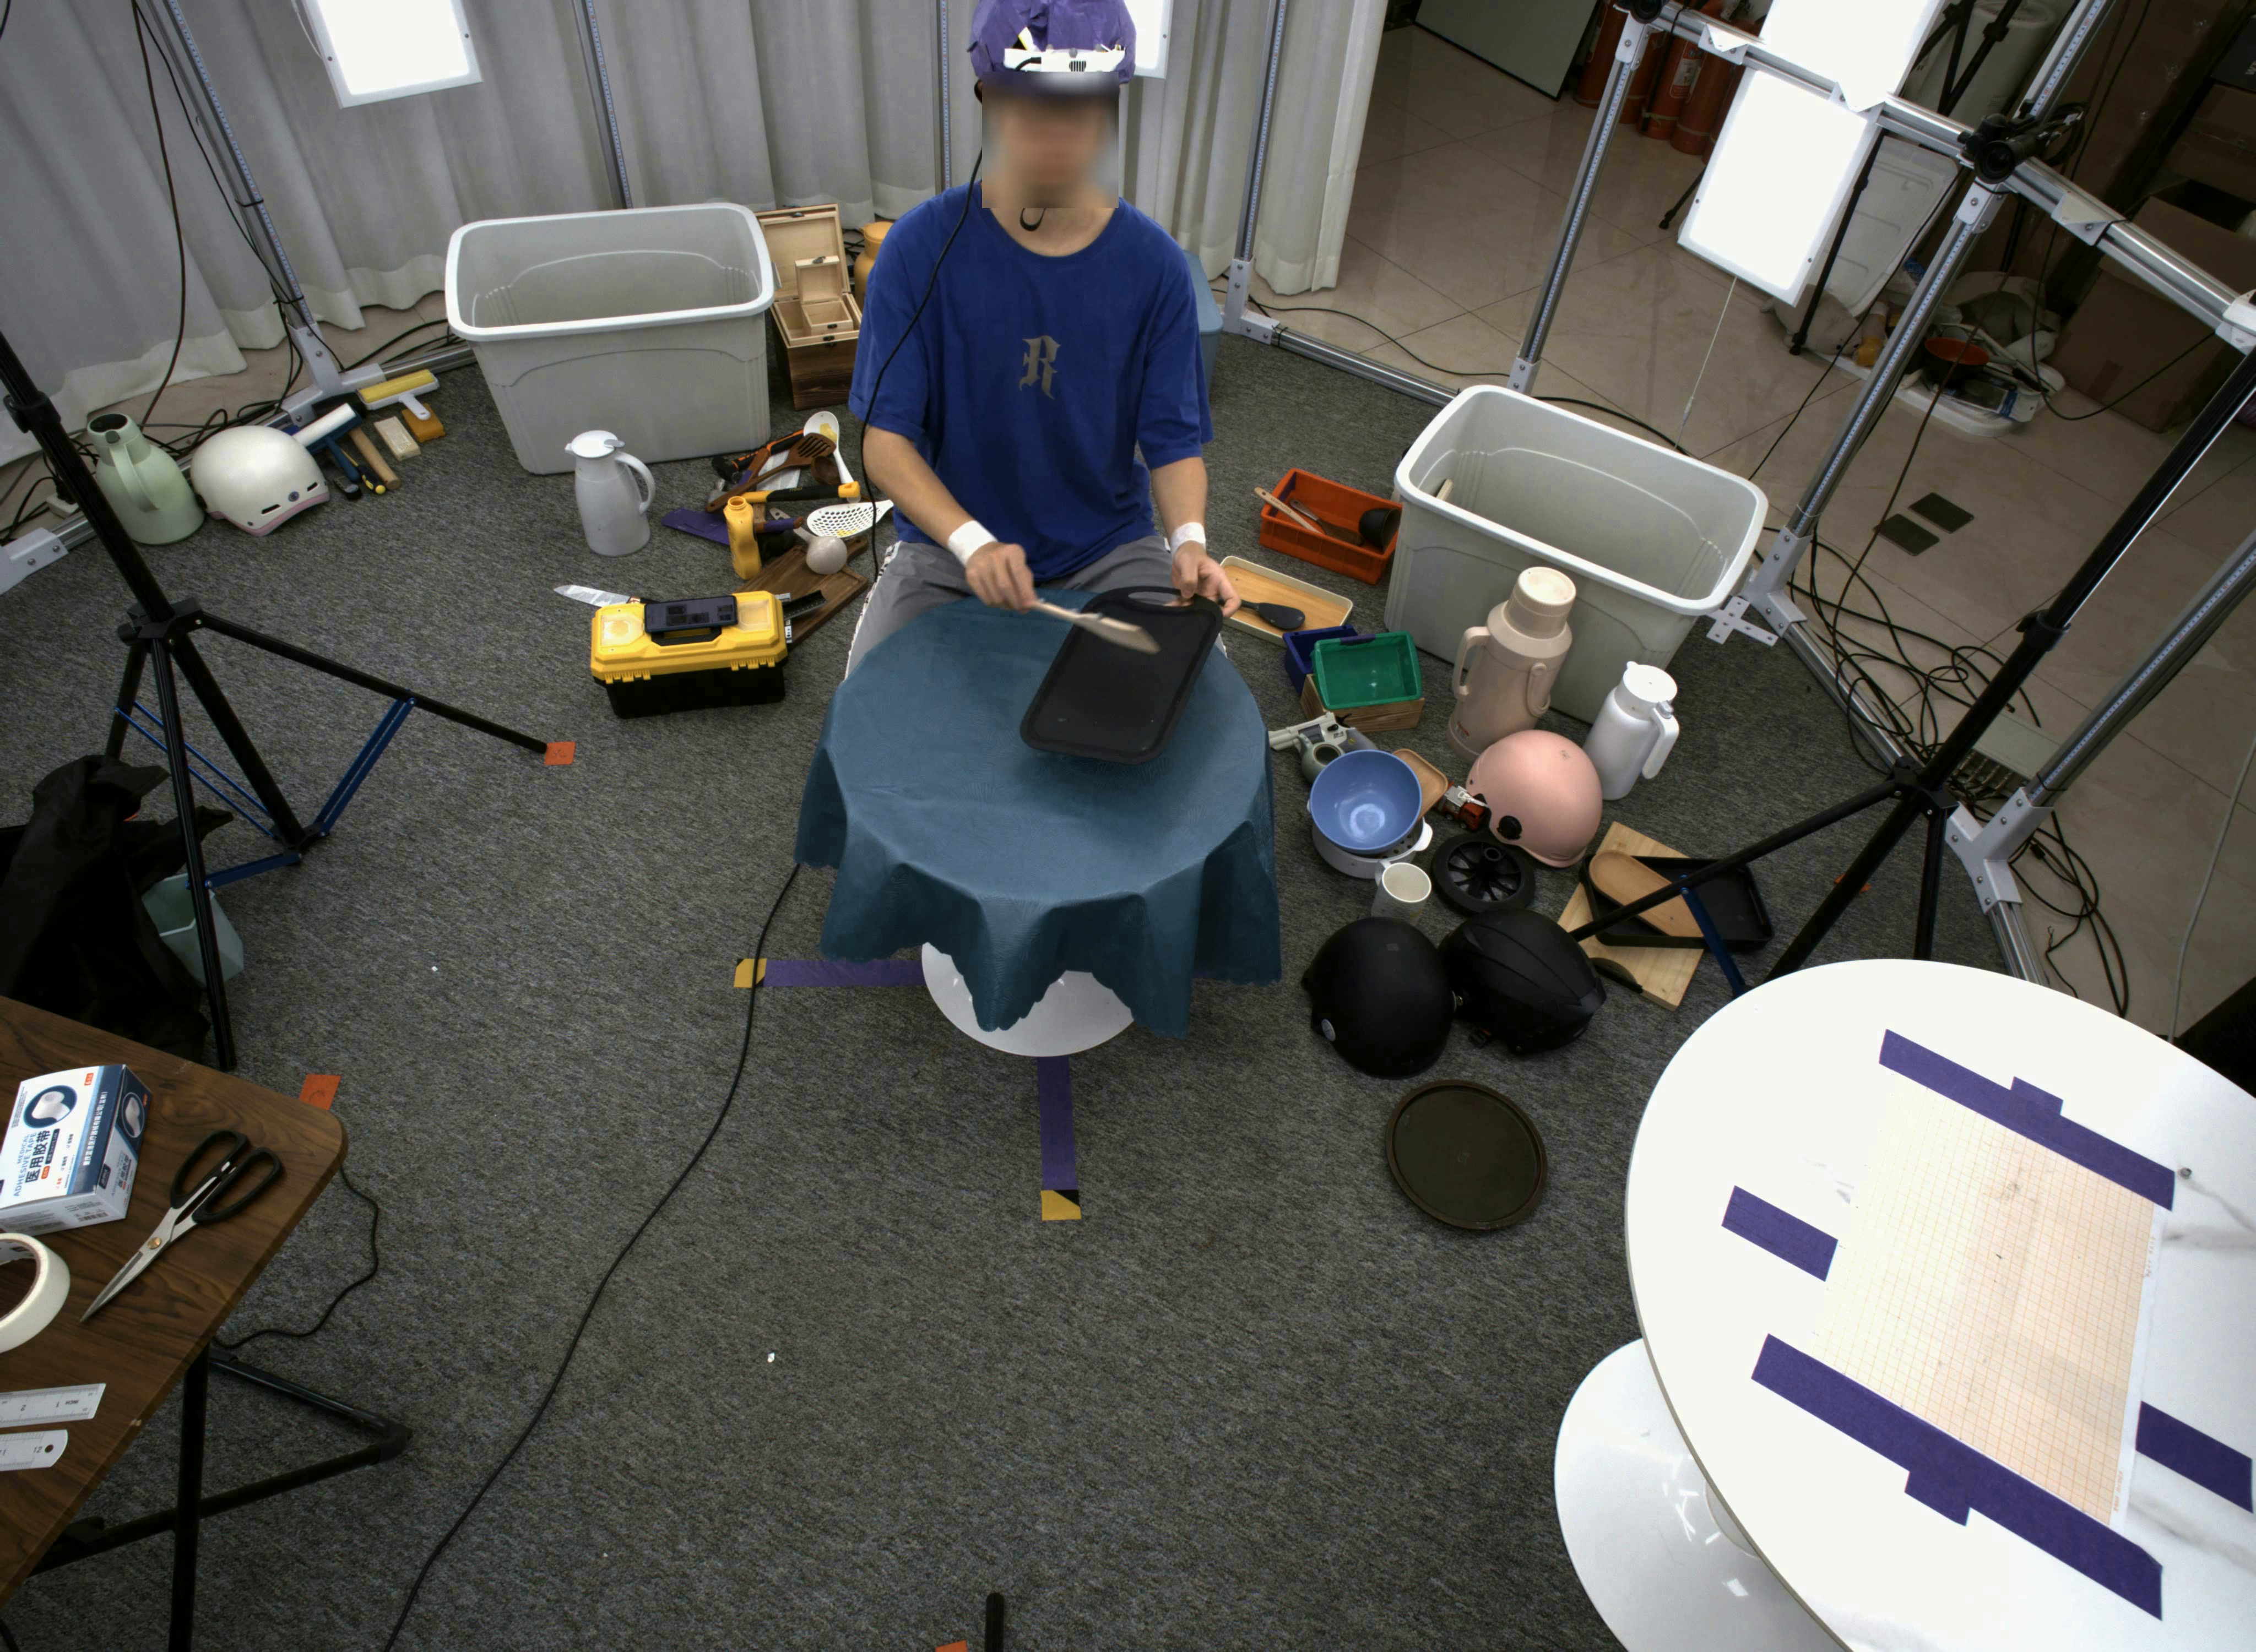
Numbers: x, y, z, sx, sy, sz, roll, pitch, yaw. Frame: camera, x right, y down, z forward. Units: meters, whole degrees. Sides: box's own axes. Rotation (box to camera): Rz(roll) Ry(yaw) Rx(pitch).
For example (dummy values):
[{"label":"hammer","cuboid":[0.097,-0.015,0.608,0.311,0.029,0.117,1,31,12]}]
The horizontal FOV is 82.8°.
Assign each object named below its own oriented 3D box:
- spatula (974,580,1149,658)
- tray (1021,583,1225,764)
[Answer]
[{"label":"spatula","cuboid":[-0.099,-0.281,1.712,0.297,0.071,0.011,26,86,33]},{"label":"tray","cuboid":[-0.002,-0.218,1.736,0.212,0.009,0.331,11,55,22]}]
